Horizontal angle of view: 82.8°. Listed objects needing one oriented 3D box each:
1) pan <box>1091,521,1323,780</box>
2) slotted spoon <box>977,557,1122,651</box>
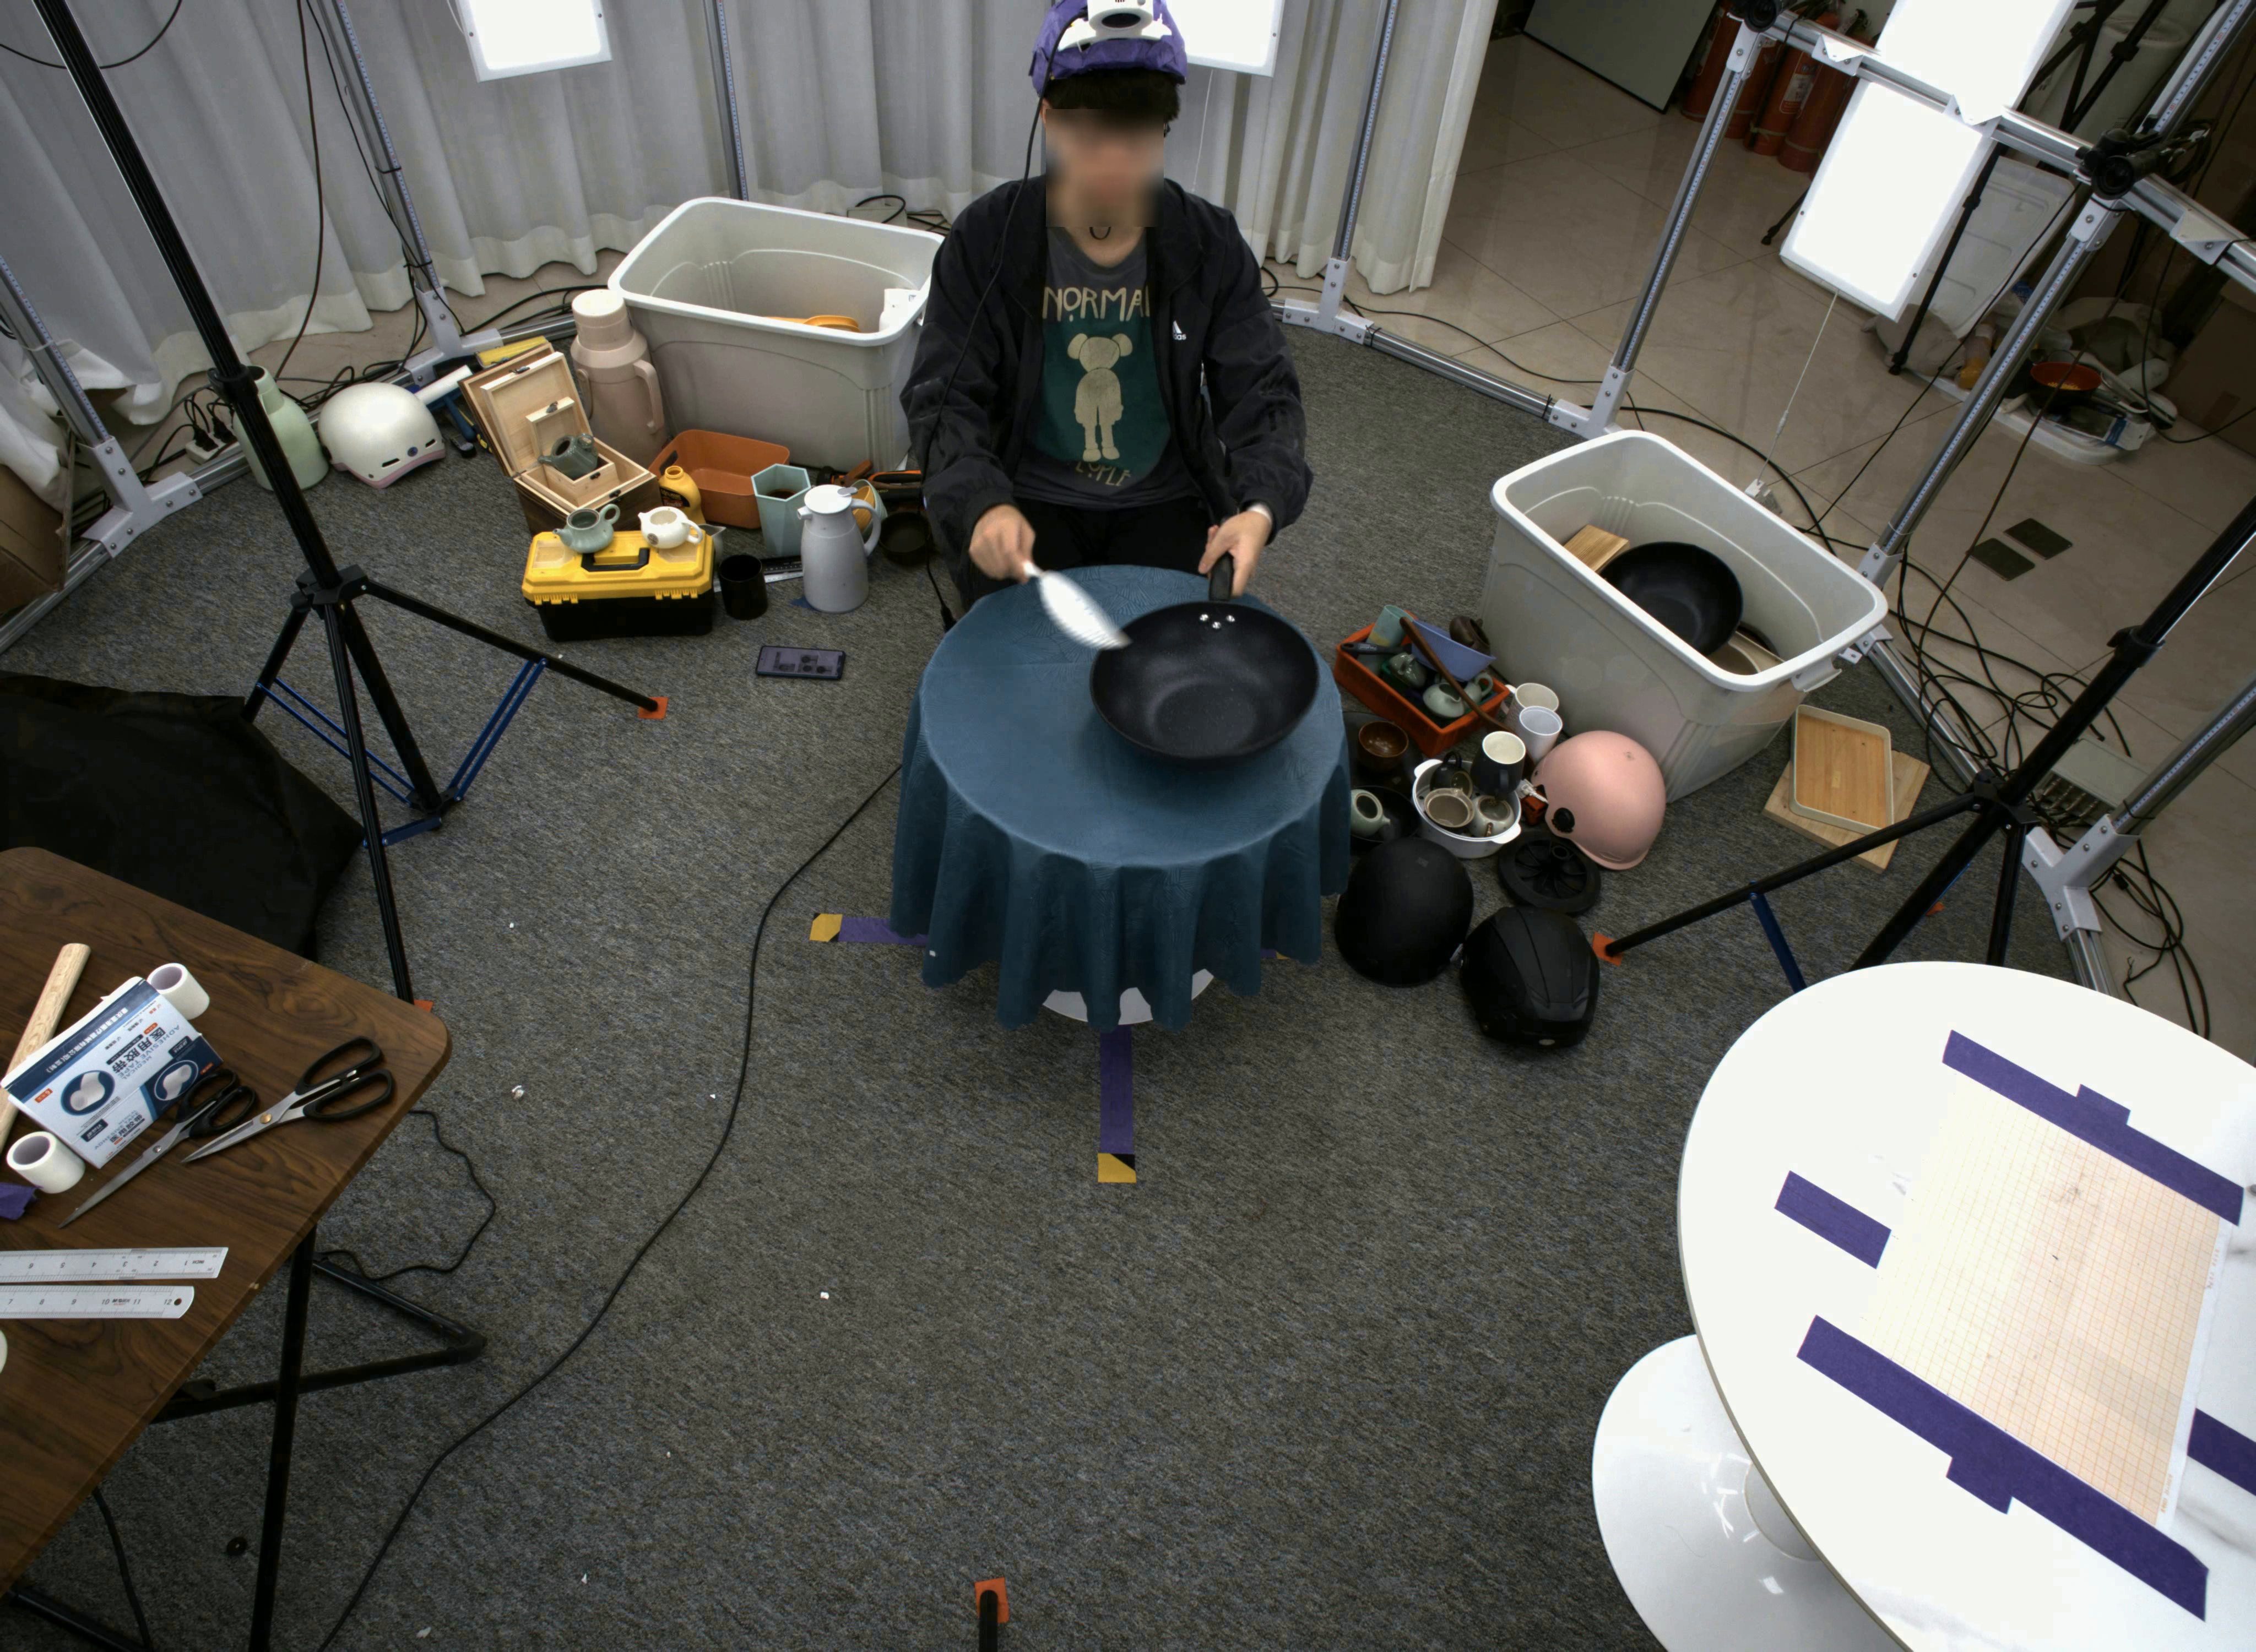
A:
[{"bbox_3d":[0.119,-0.238,1.796,0.310,0.109,0.488,5,49,8],"label":"pan"},{"bbox_3d":[-0.121,-0.312,1.731,0.050,0.134,0.355,-49,39,7],"label":"slotted spoon"}]
